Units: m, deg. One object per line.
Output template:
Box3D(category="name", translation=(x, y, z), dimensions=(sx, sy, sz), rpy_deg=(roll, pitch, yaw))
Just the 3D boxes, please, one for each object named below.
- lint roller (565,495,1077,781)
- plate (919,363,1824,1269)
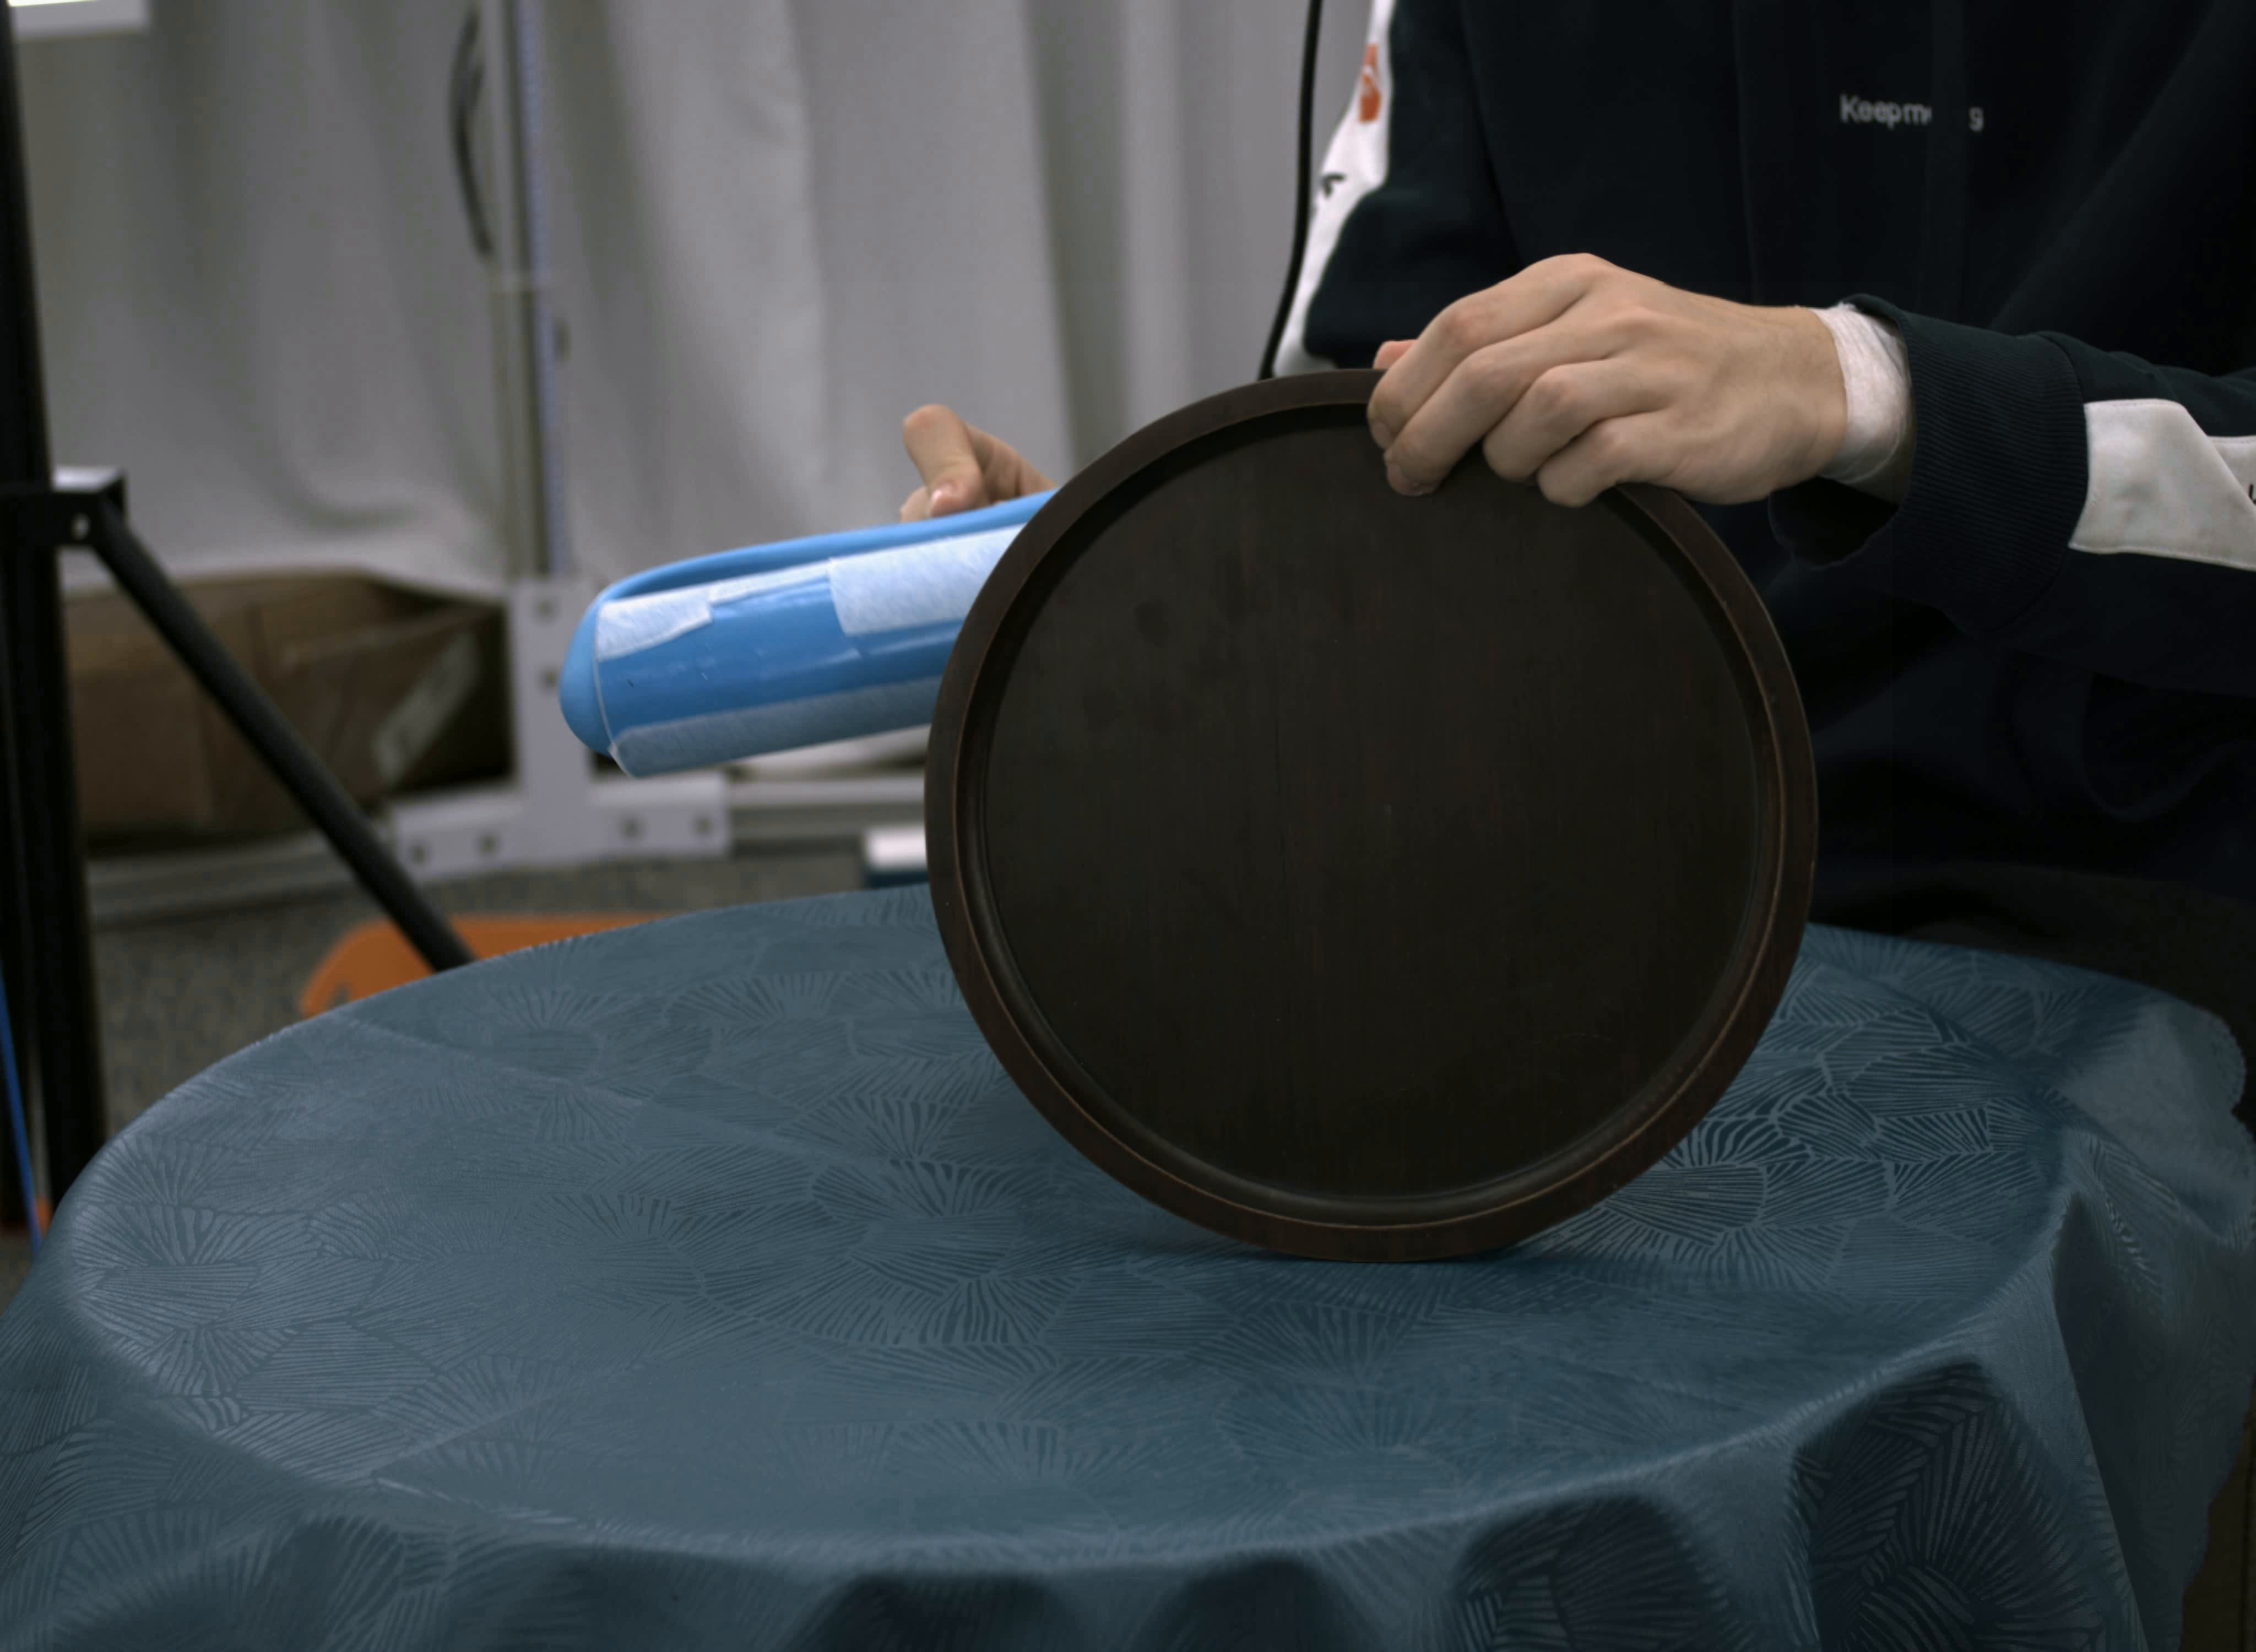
Box3D(category="lint roller", translation=(-0.049, -0.062, 1.632), dimensions=(0.229, 0.068, 0.179), rpy_deg=(-11, 3, 10))
Box3D(category="plate", translation=(0.067, -0.002, 1.485), dimensions=(0.255, 0.255, 0.029), rpy_deg=(0, 7, 10))
